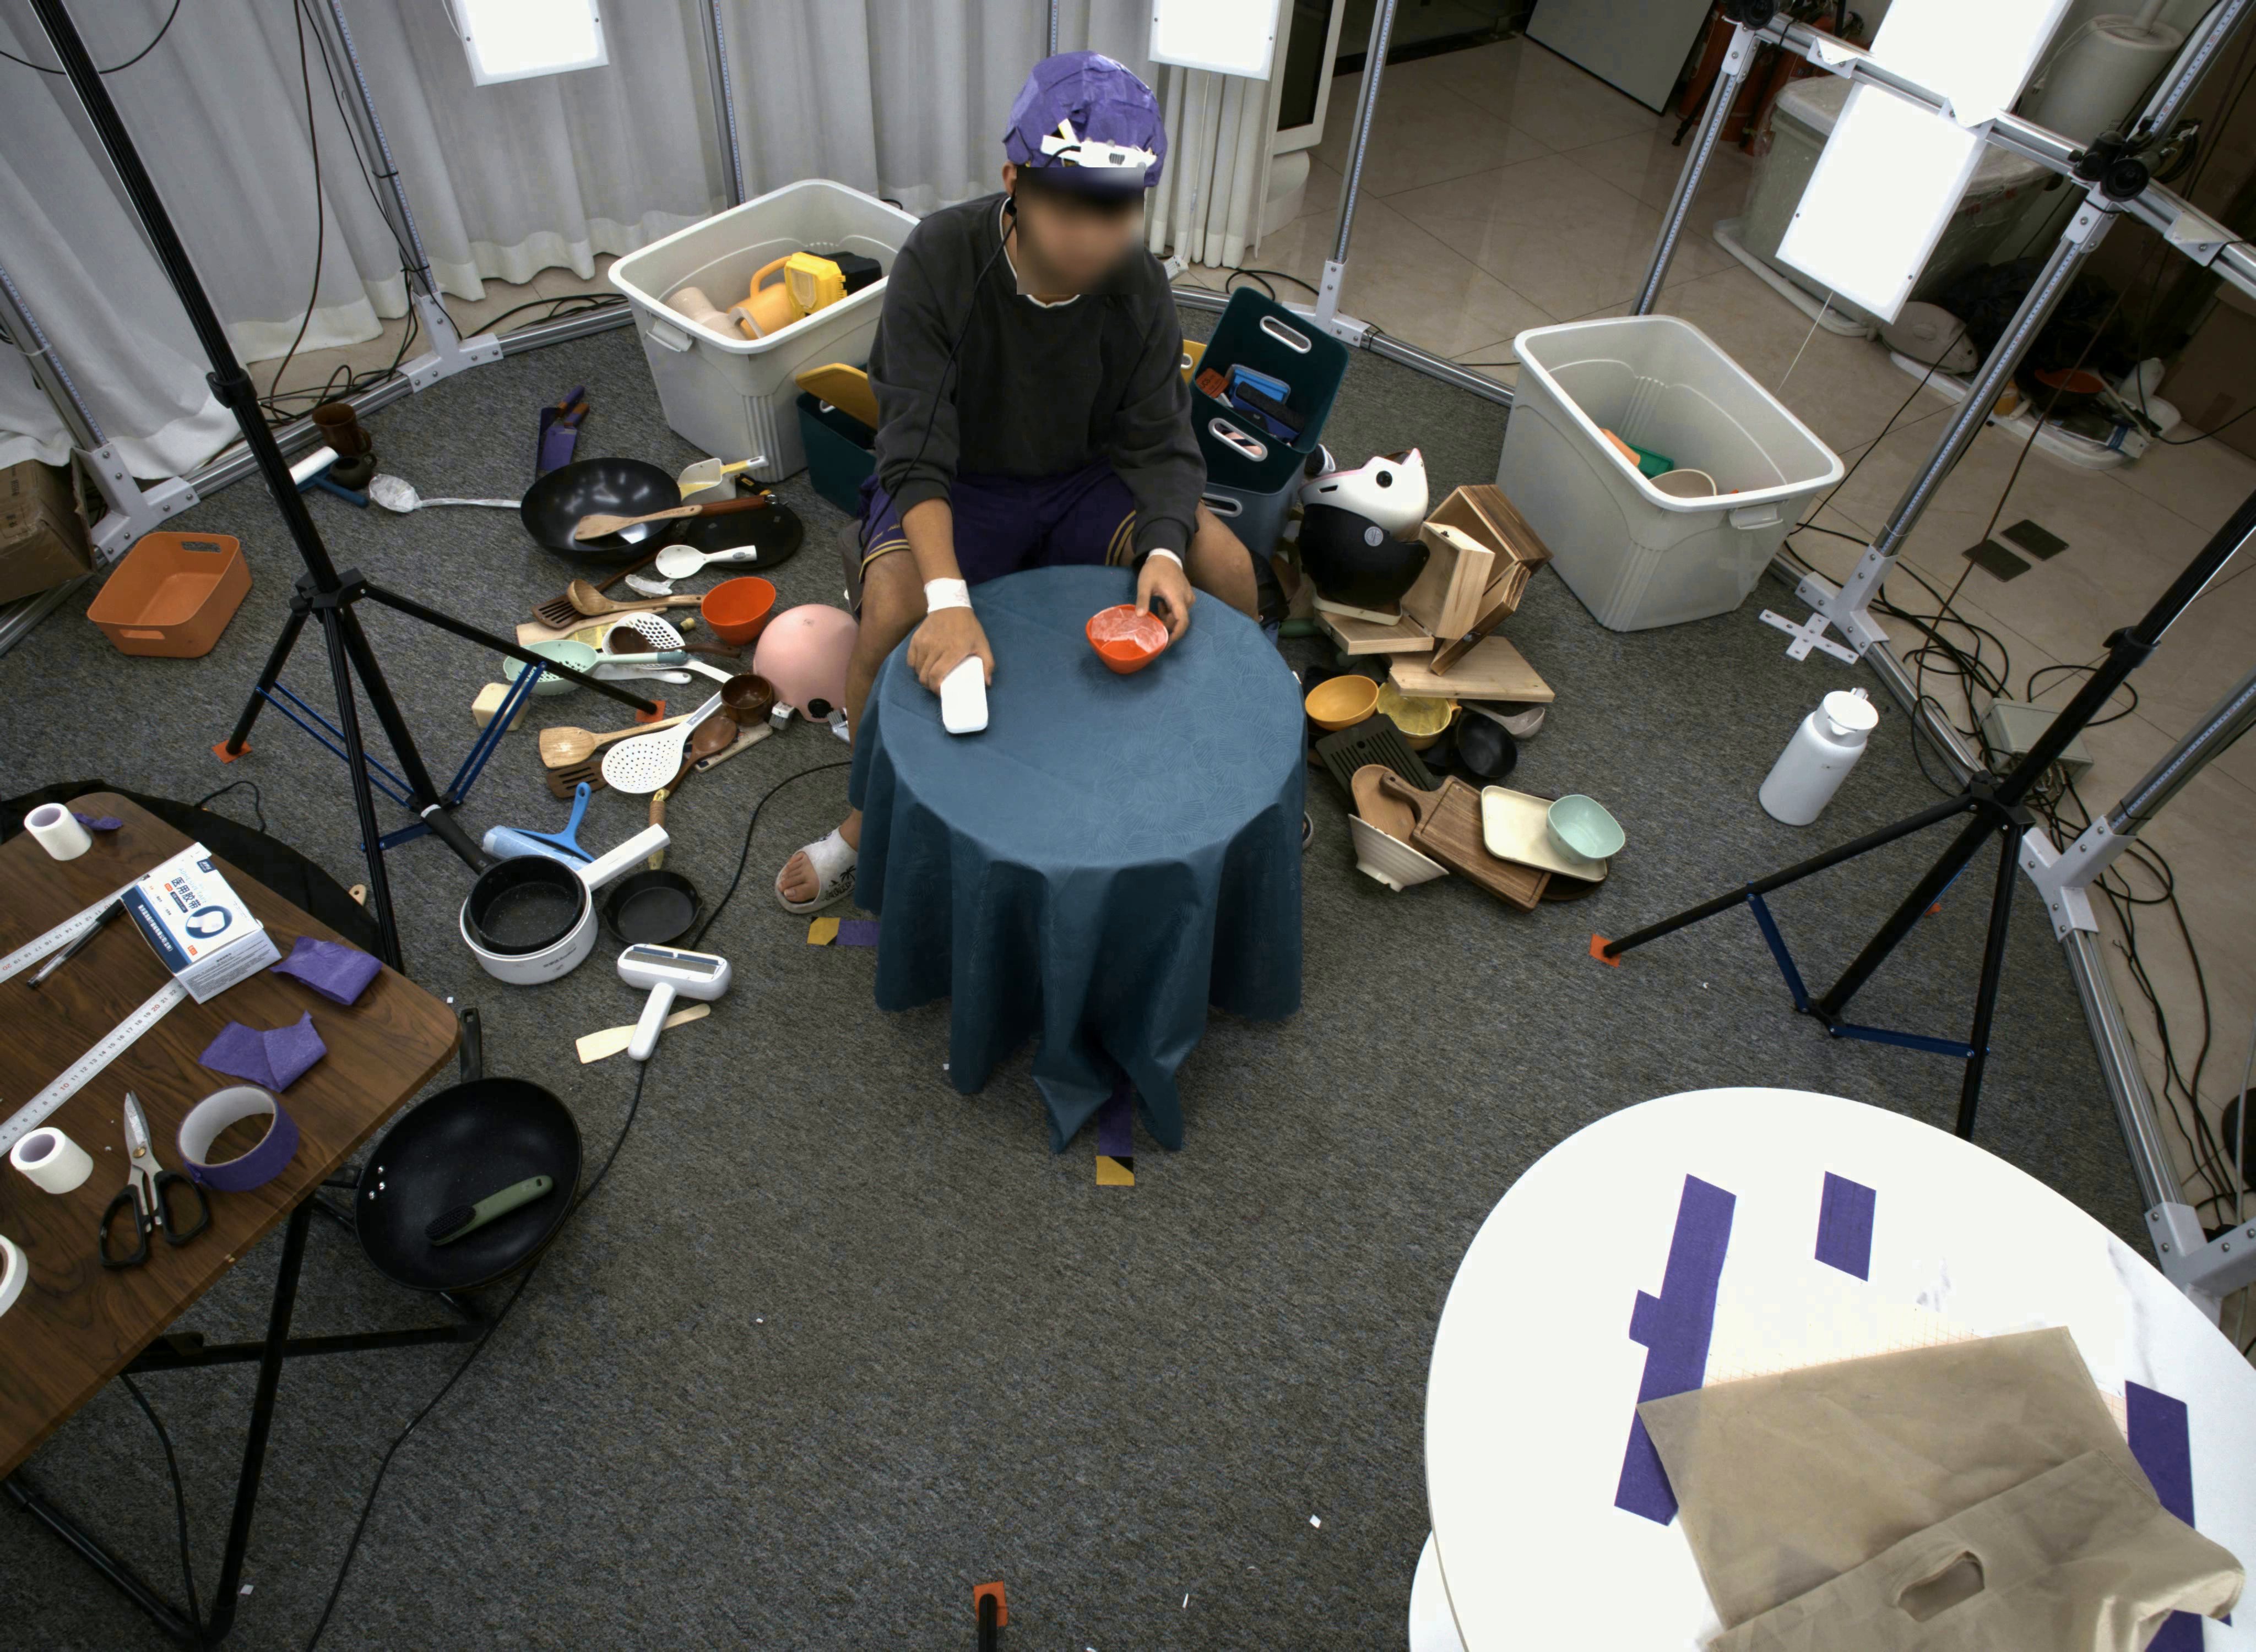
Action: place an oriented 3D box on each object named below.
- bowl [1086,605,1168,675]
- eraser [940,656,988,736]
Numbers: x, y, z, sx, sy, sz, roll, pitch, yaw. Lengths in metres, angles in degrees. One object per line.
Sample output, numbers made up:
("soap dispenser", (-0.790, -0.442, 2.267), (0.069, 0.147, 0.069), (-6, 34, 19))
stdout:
("bowl", (-0.002, -0.264, 1.863), (0.119, 0.050, 0.122), (1, 49, -2))
("eraser", (-0.227, -0.183, 1.784), (0.063, 0.034, 0.134), (-4, 54, -5))
